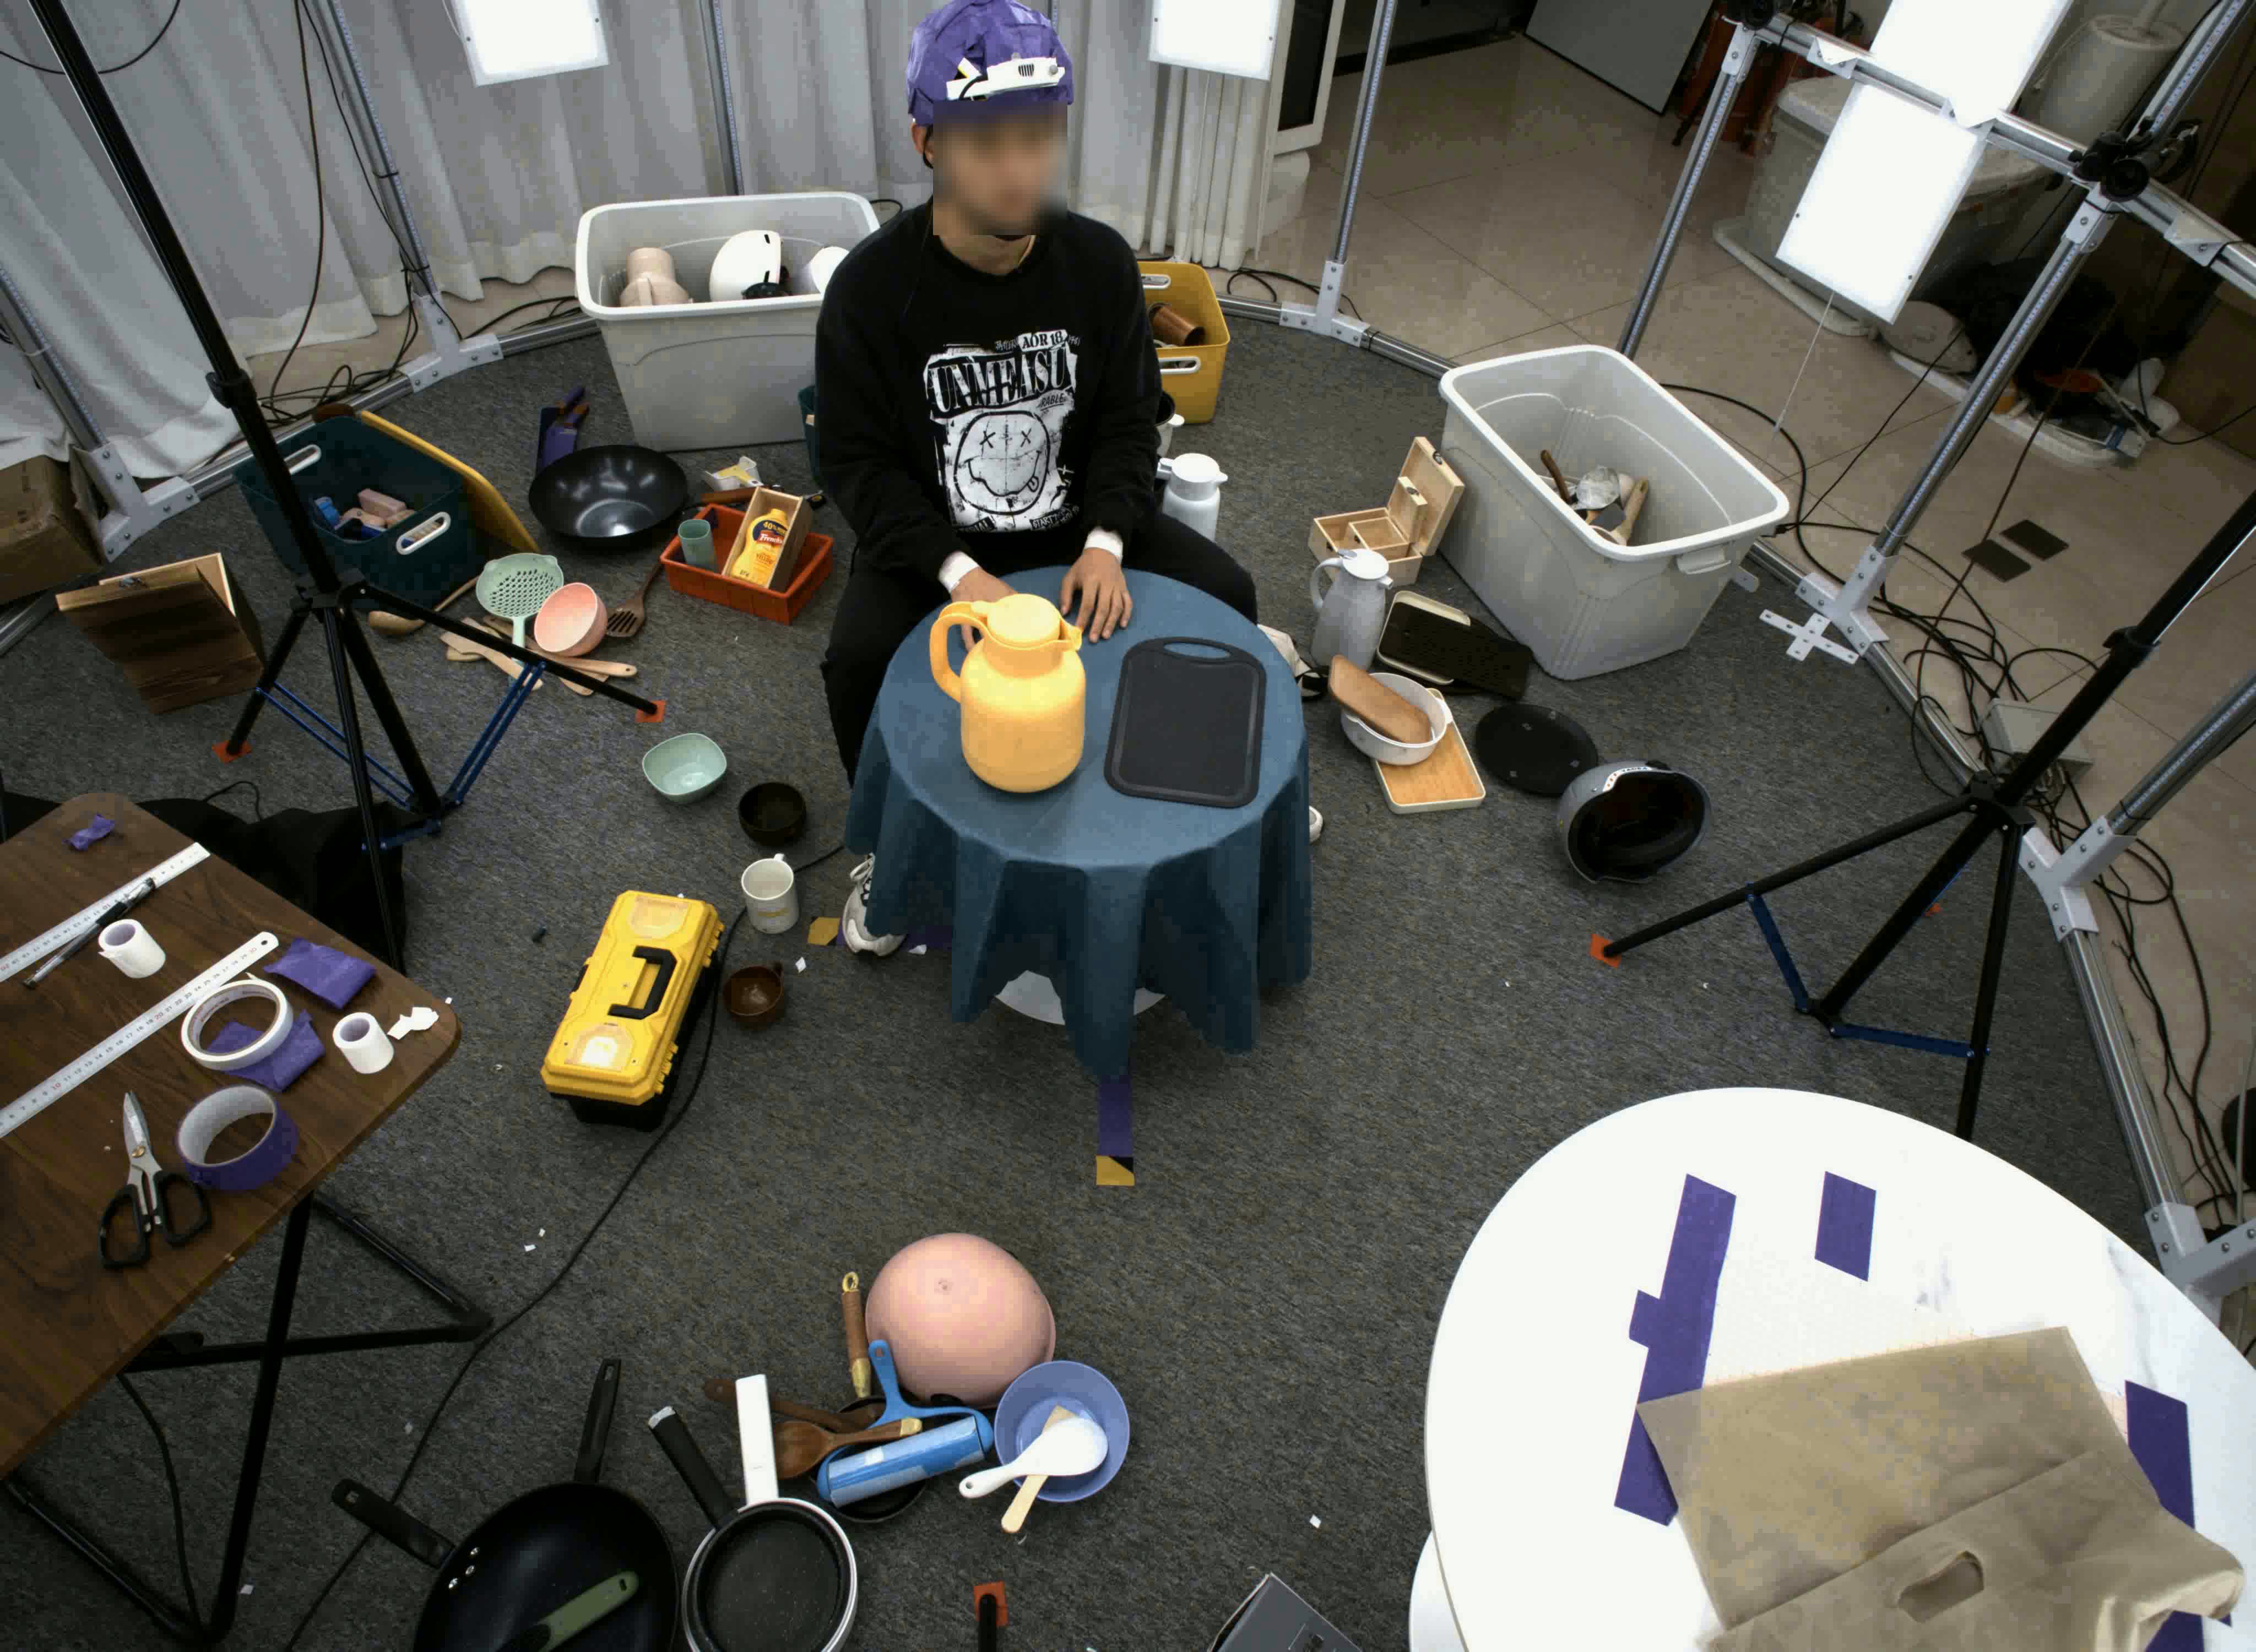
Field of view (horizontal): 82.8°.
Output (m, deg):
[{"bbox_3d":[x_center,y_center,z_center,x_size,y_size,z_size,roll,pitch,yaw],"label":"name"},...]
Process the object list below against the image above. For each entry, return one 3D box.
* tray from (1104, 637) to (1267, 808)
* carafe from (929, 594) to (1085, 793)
[{"bbox_3d":[0.086,-0.157,1.806,0.211,0.009,0.333,8,49,3],"label":"tray"},{"bbox_3d":[-0.154,-0.181,1.648,0.203,0.254,0.167,18,48,9],"label":"carafe"}]
